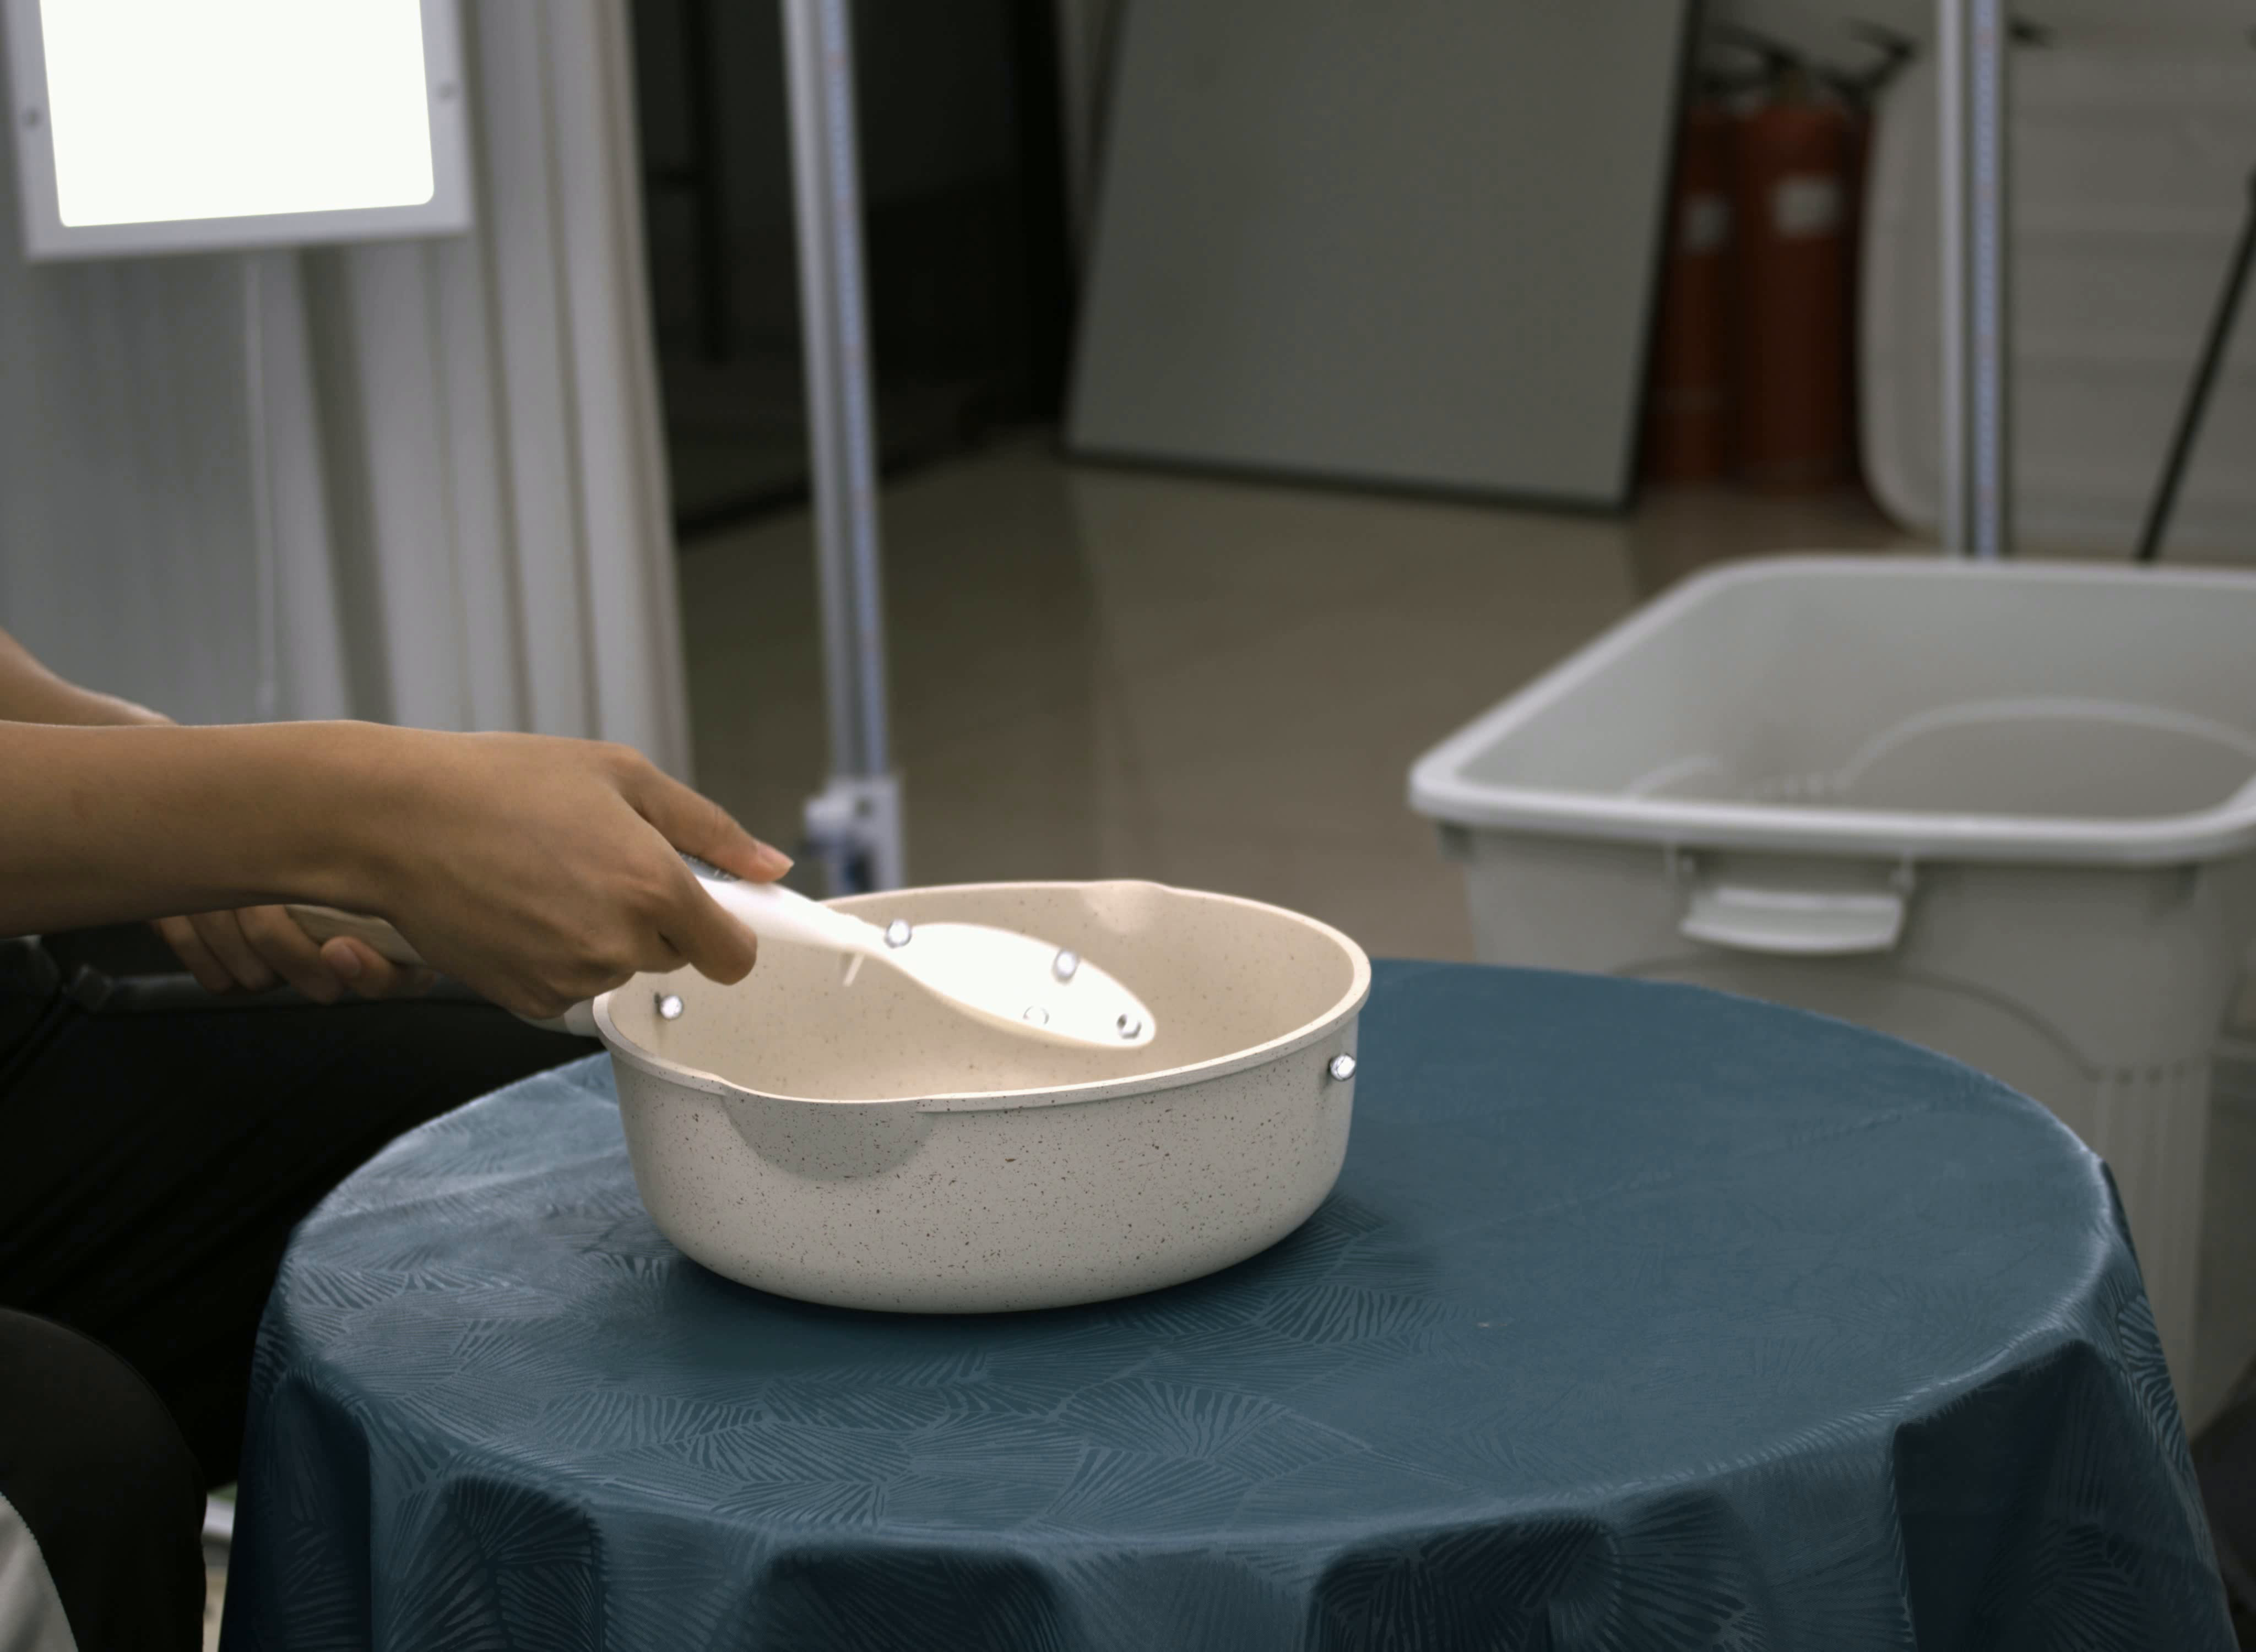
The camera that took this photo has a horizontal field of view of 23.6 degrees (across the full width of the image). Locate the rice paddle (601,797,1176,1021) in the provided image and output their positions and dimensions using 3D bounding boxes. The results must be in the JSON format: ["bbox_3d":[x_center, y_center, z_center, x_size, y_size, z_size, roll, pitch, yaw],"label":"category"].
[{"bbox_3d":[-0.072,0.029,1.742,0.201,0.030,0.069,16,20,-25],"label":"rice paddle"}]

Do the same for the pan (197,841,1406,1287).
[{"bbox_3d":[-0.115,0.069,1.794,0.435,0.103,0.260,2,16,24],"label":"pan"}]
